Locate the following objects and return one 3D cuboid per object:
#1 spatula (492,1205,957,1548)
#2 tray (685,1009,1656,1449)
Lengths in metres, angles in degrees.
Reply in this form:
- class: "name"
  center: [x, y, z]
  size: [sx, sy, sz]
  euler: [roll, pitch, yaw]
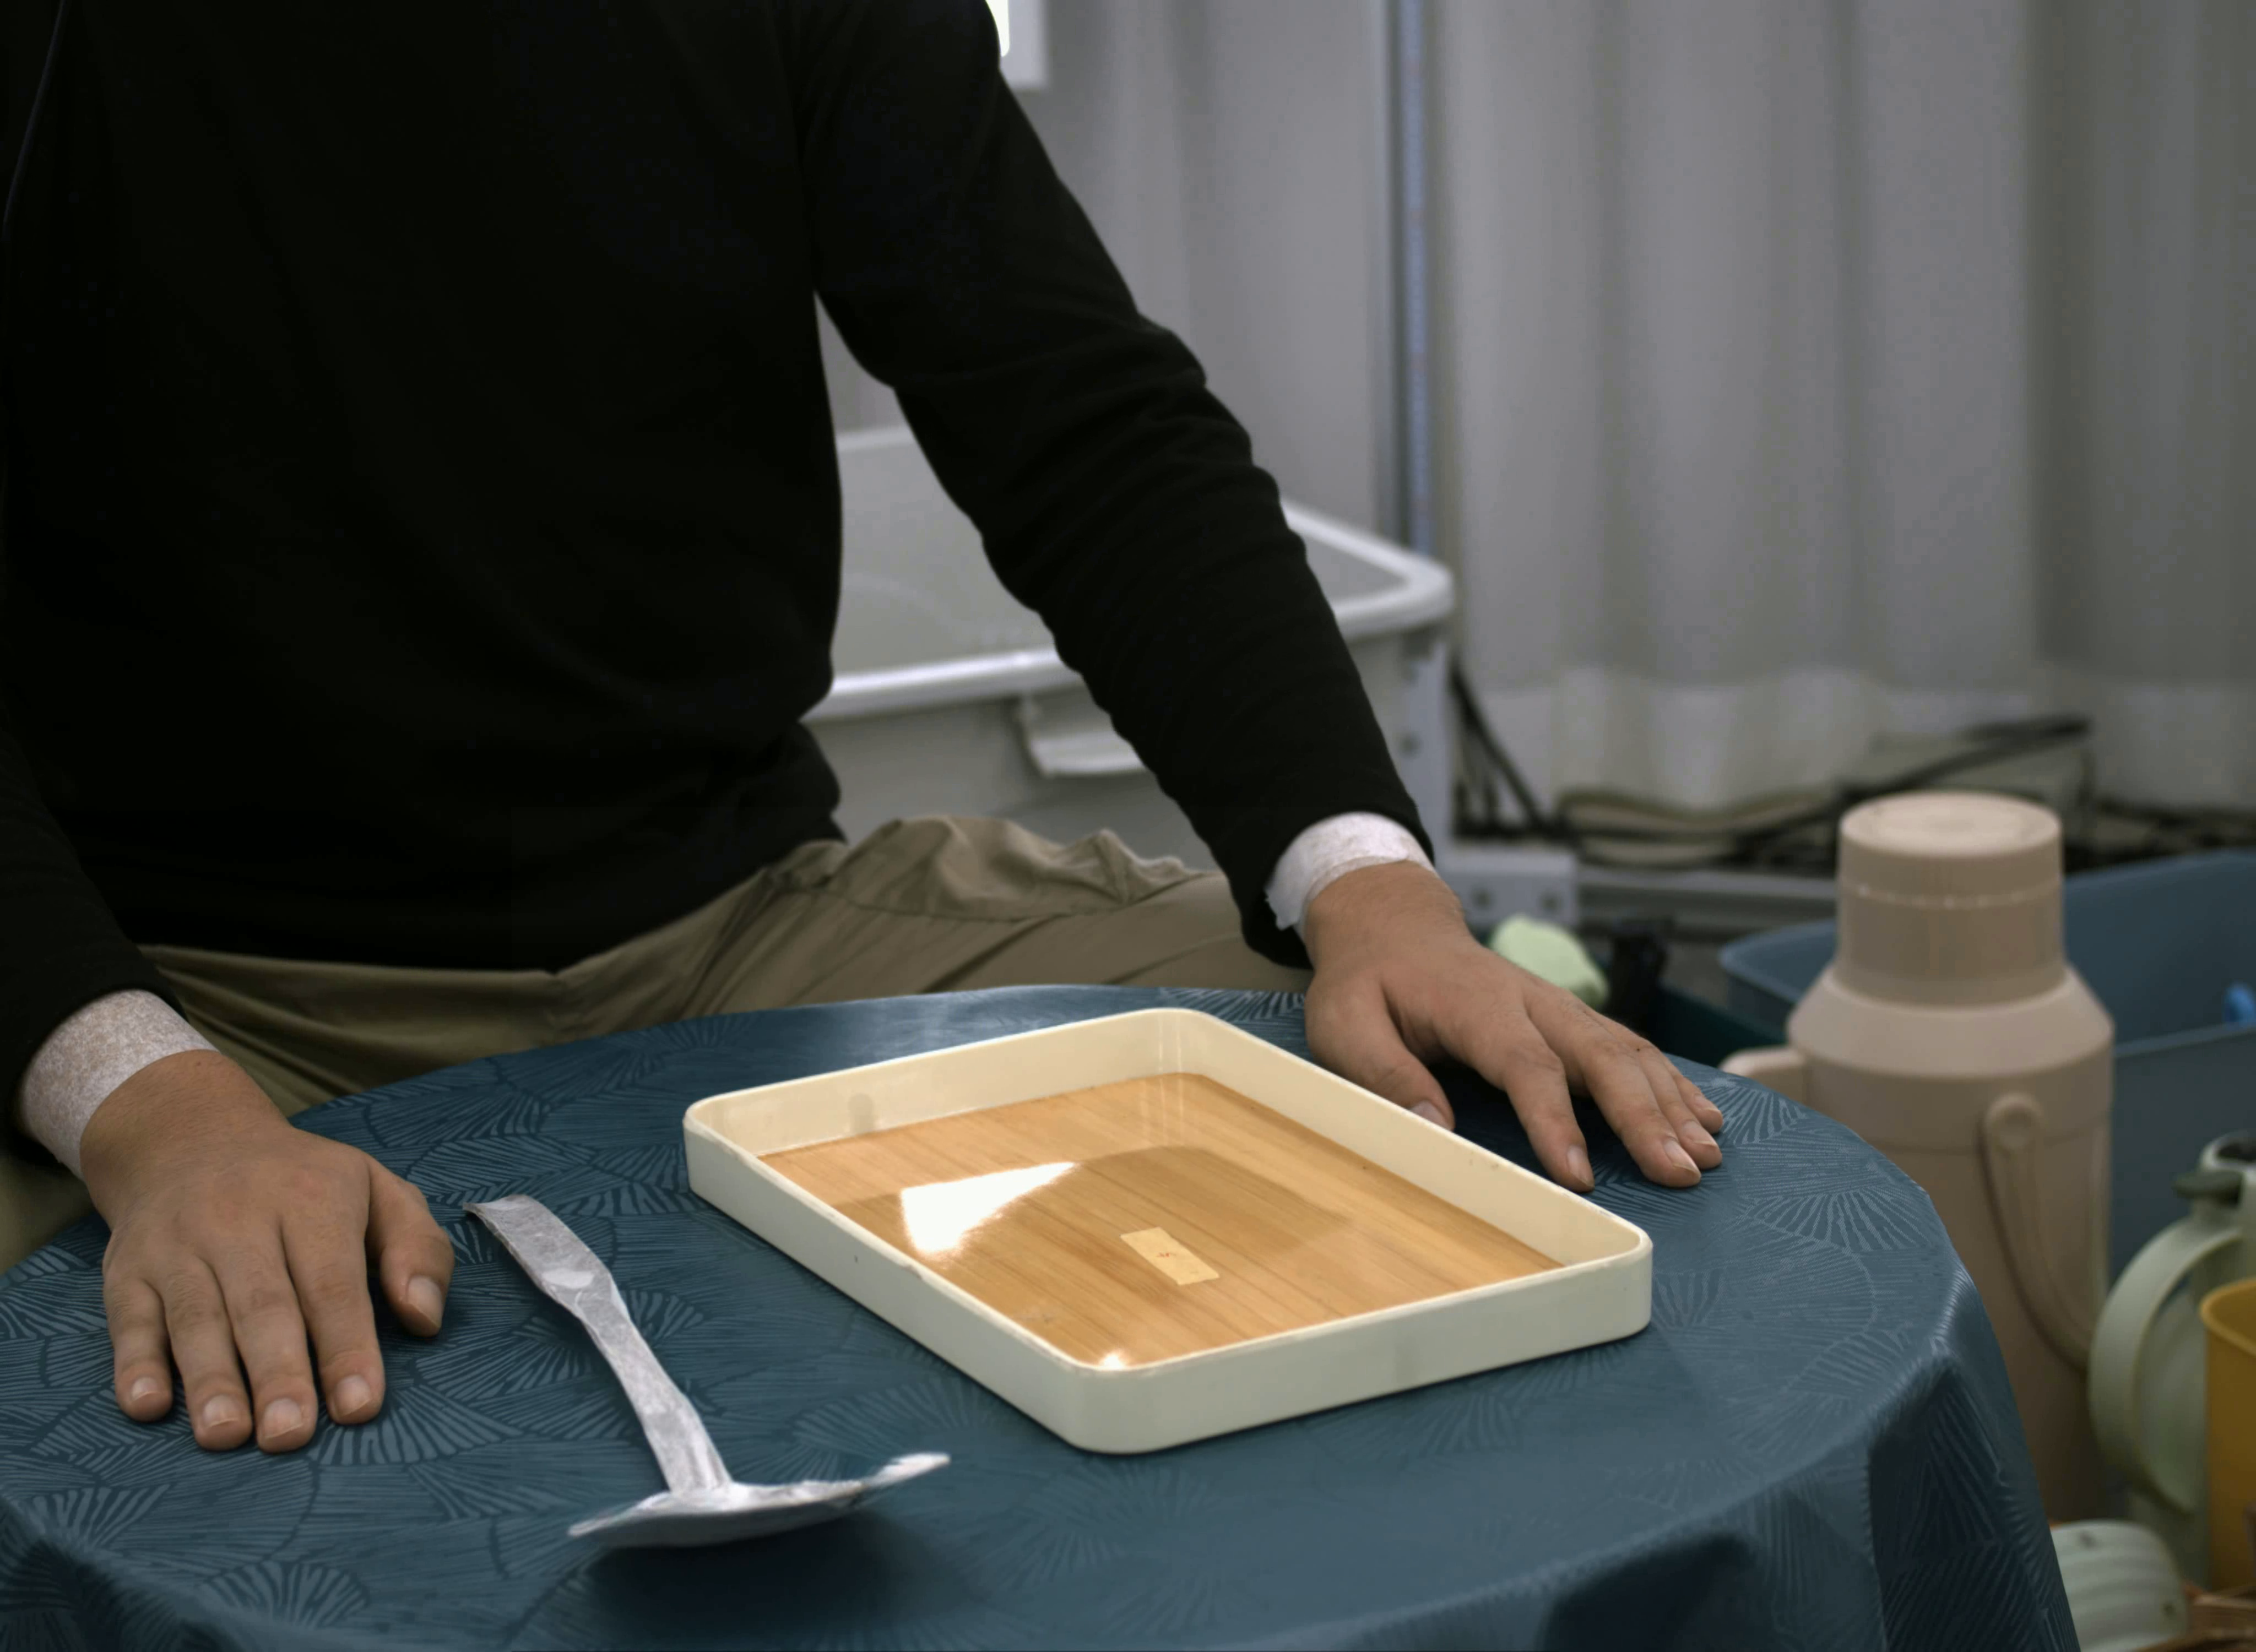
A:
- class: "spatula"
  center: [-0.139, 0.146, 1.548]
  size: [0.098, 0.044, 0.368]
  euler: [-8, 16, -17]
- class: "tray"
  center: [0.006, 0.117, 1.653]
  size: [0.191, 0.027, 0.302]
  euler: [-10, 16, -25]
